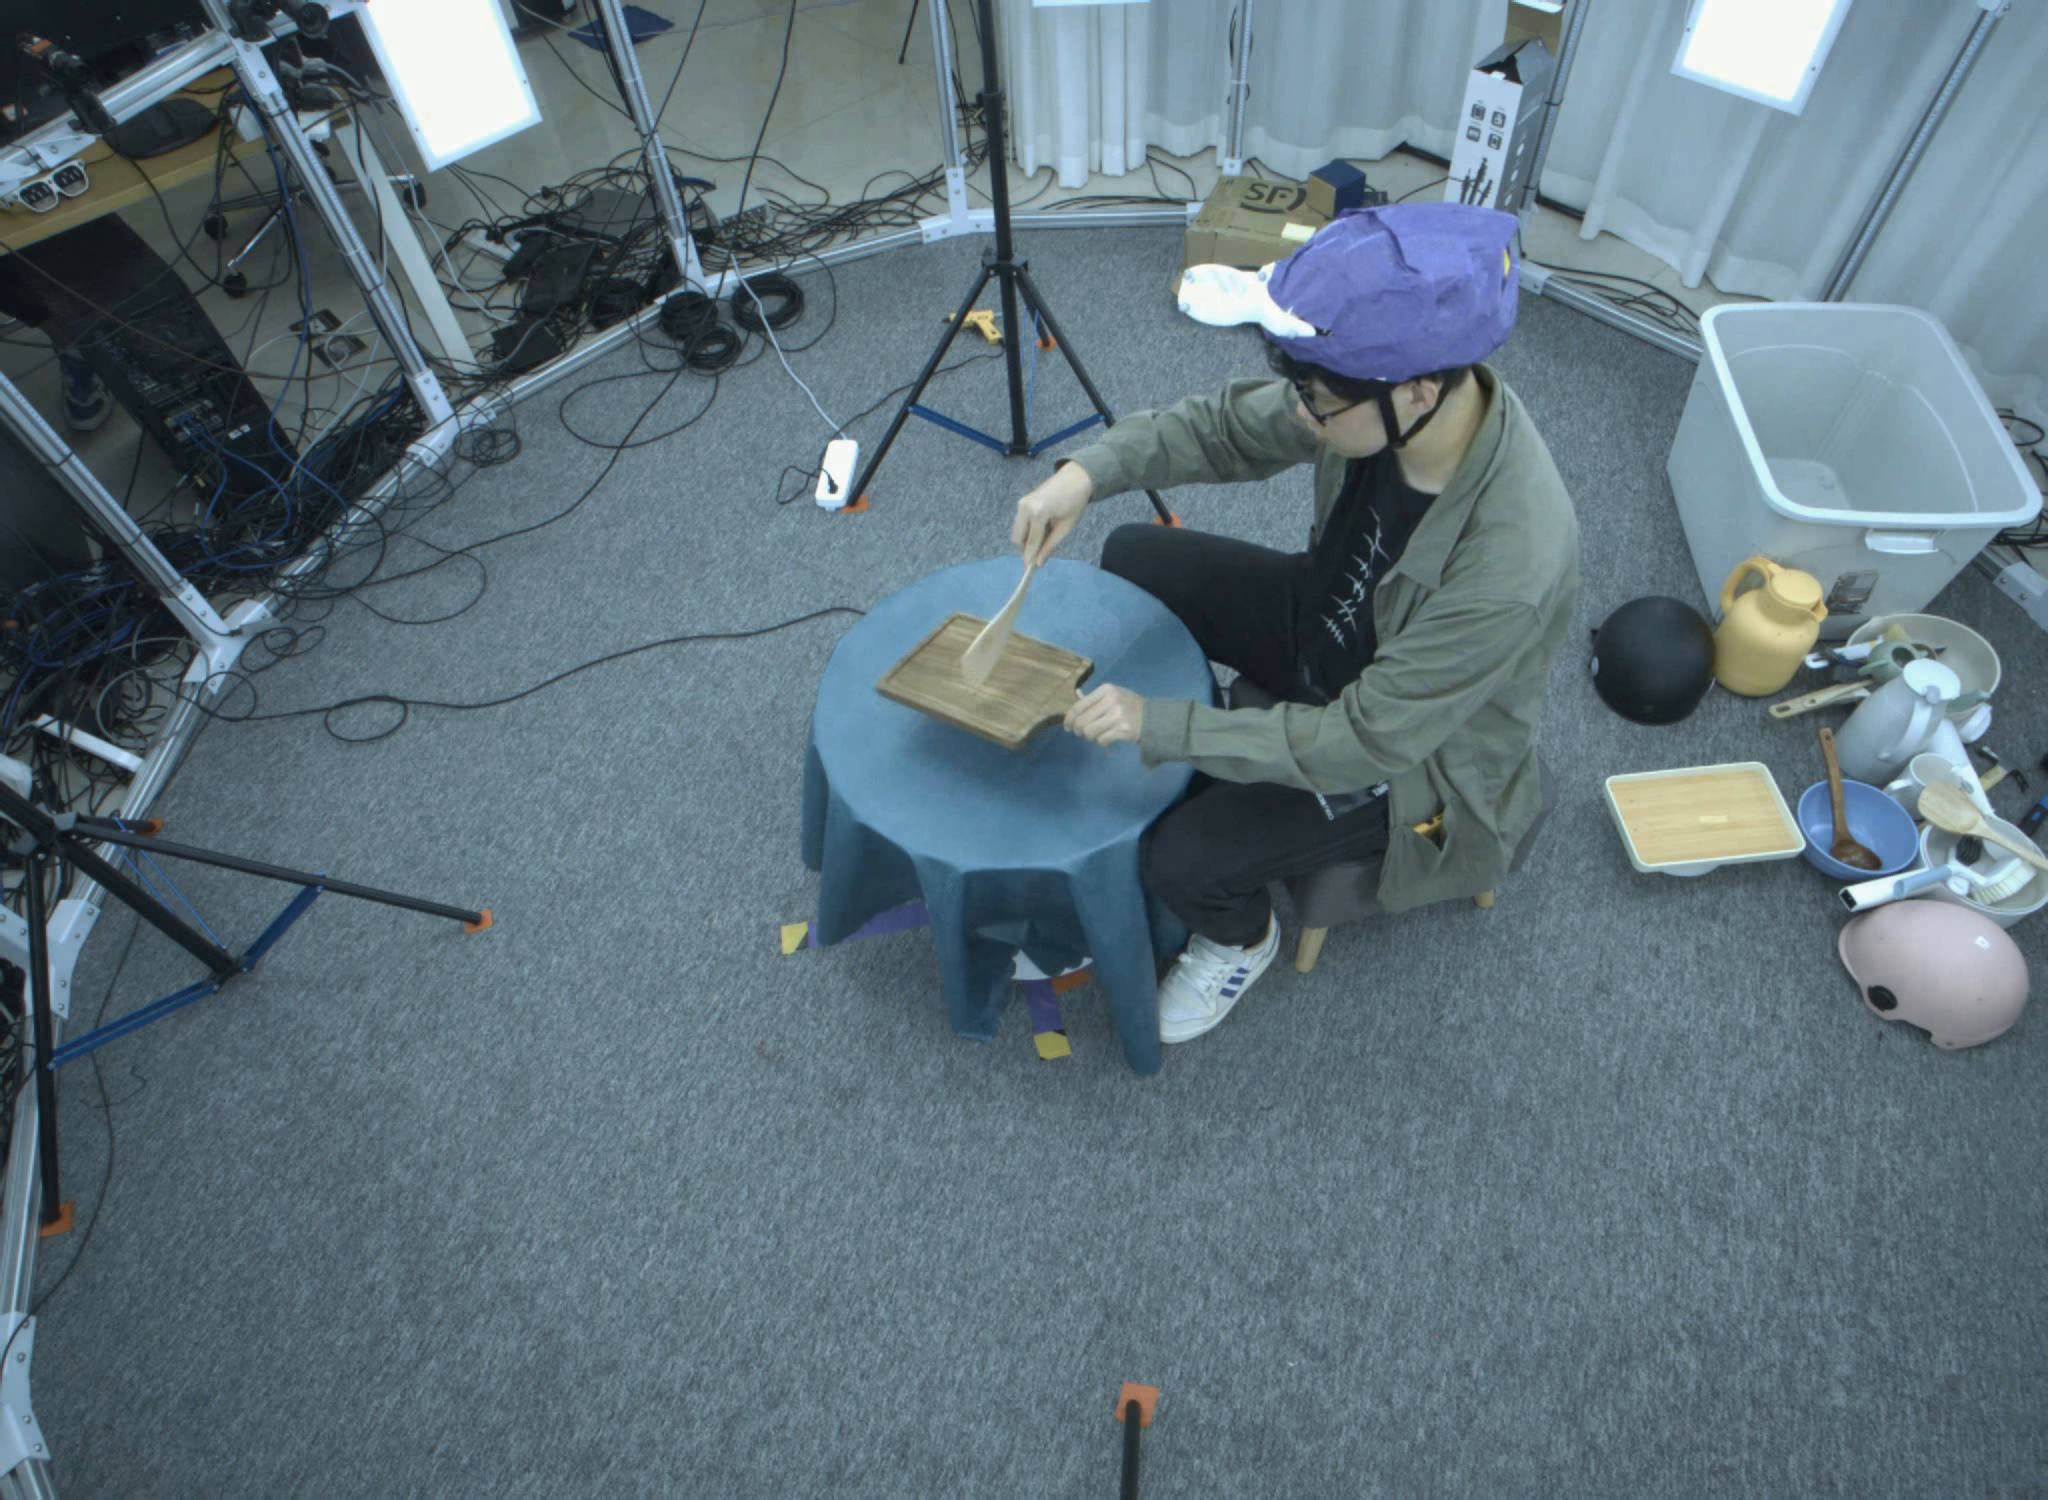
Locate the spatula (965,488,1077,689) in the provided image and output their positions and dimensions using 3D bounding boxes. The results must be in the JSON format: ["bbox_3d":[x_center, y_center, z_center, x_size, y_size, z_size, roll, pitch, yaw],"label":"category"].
[{"bbox_3d":[-0.002,-0.233,1.685,0.016,0.081,0.327,19,69,21],"label":"spatula"}]

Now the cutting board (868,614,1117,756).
[{"bbox_3d":[-0.025,-0.080,1.708,0.346,0.023,0.202,24,51,25],"label":"cutting board"}]
